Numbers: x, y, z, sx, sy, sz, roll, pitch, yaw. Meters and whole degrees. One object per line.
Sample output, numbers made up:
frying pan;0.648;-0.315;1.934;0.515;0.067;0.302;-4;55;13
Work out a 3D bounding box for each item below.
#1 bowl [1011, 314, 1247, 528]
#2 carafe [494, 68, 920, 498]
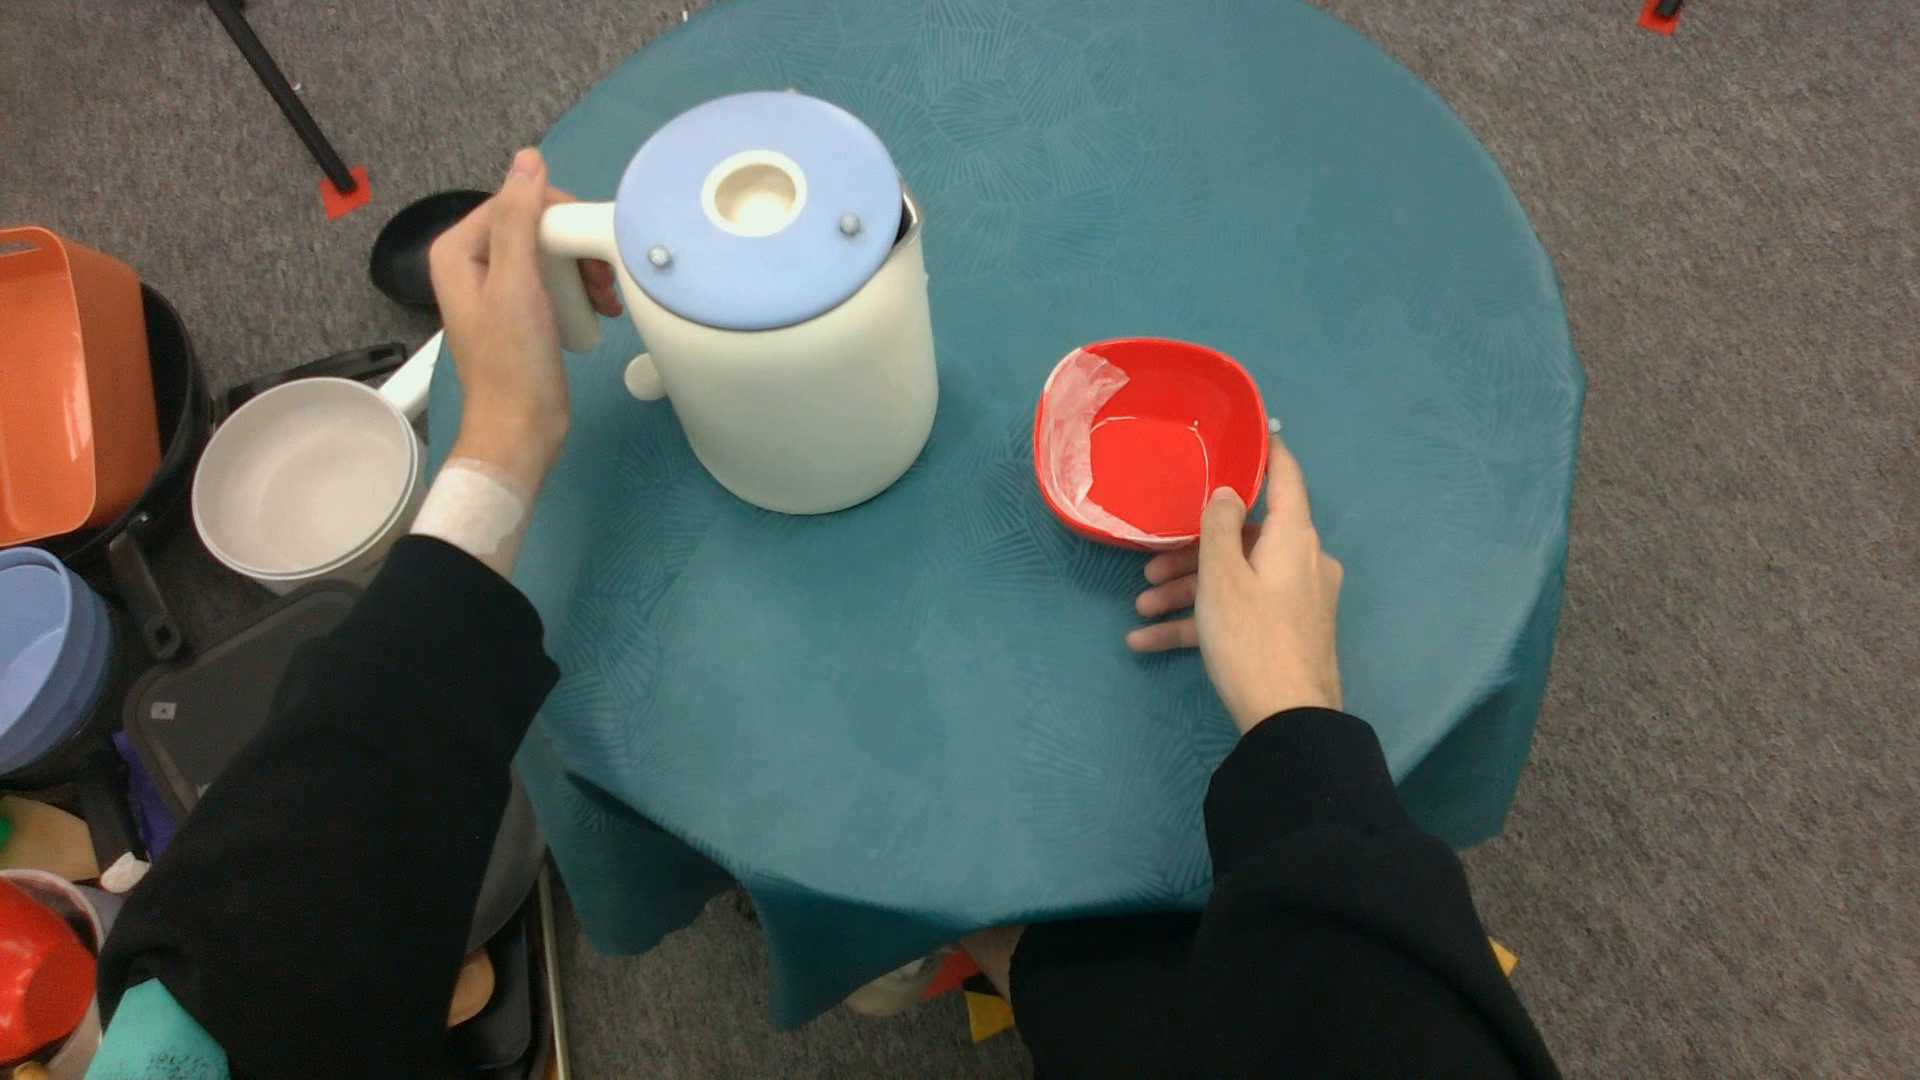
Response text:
bowl;0.079;-0.049;0.666;0.119;0.051;0.119;0;64;-1
carafe;-0.113;-0.113;0.636;0.191;0.182;0.132;2;65;5
